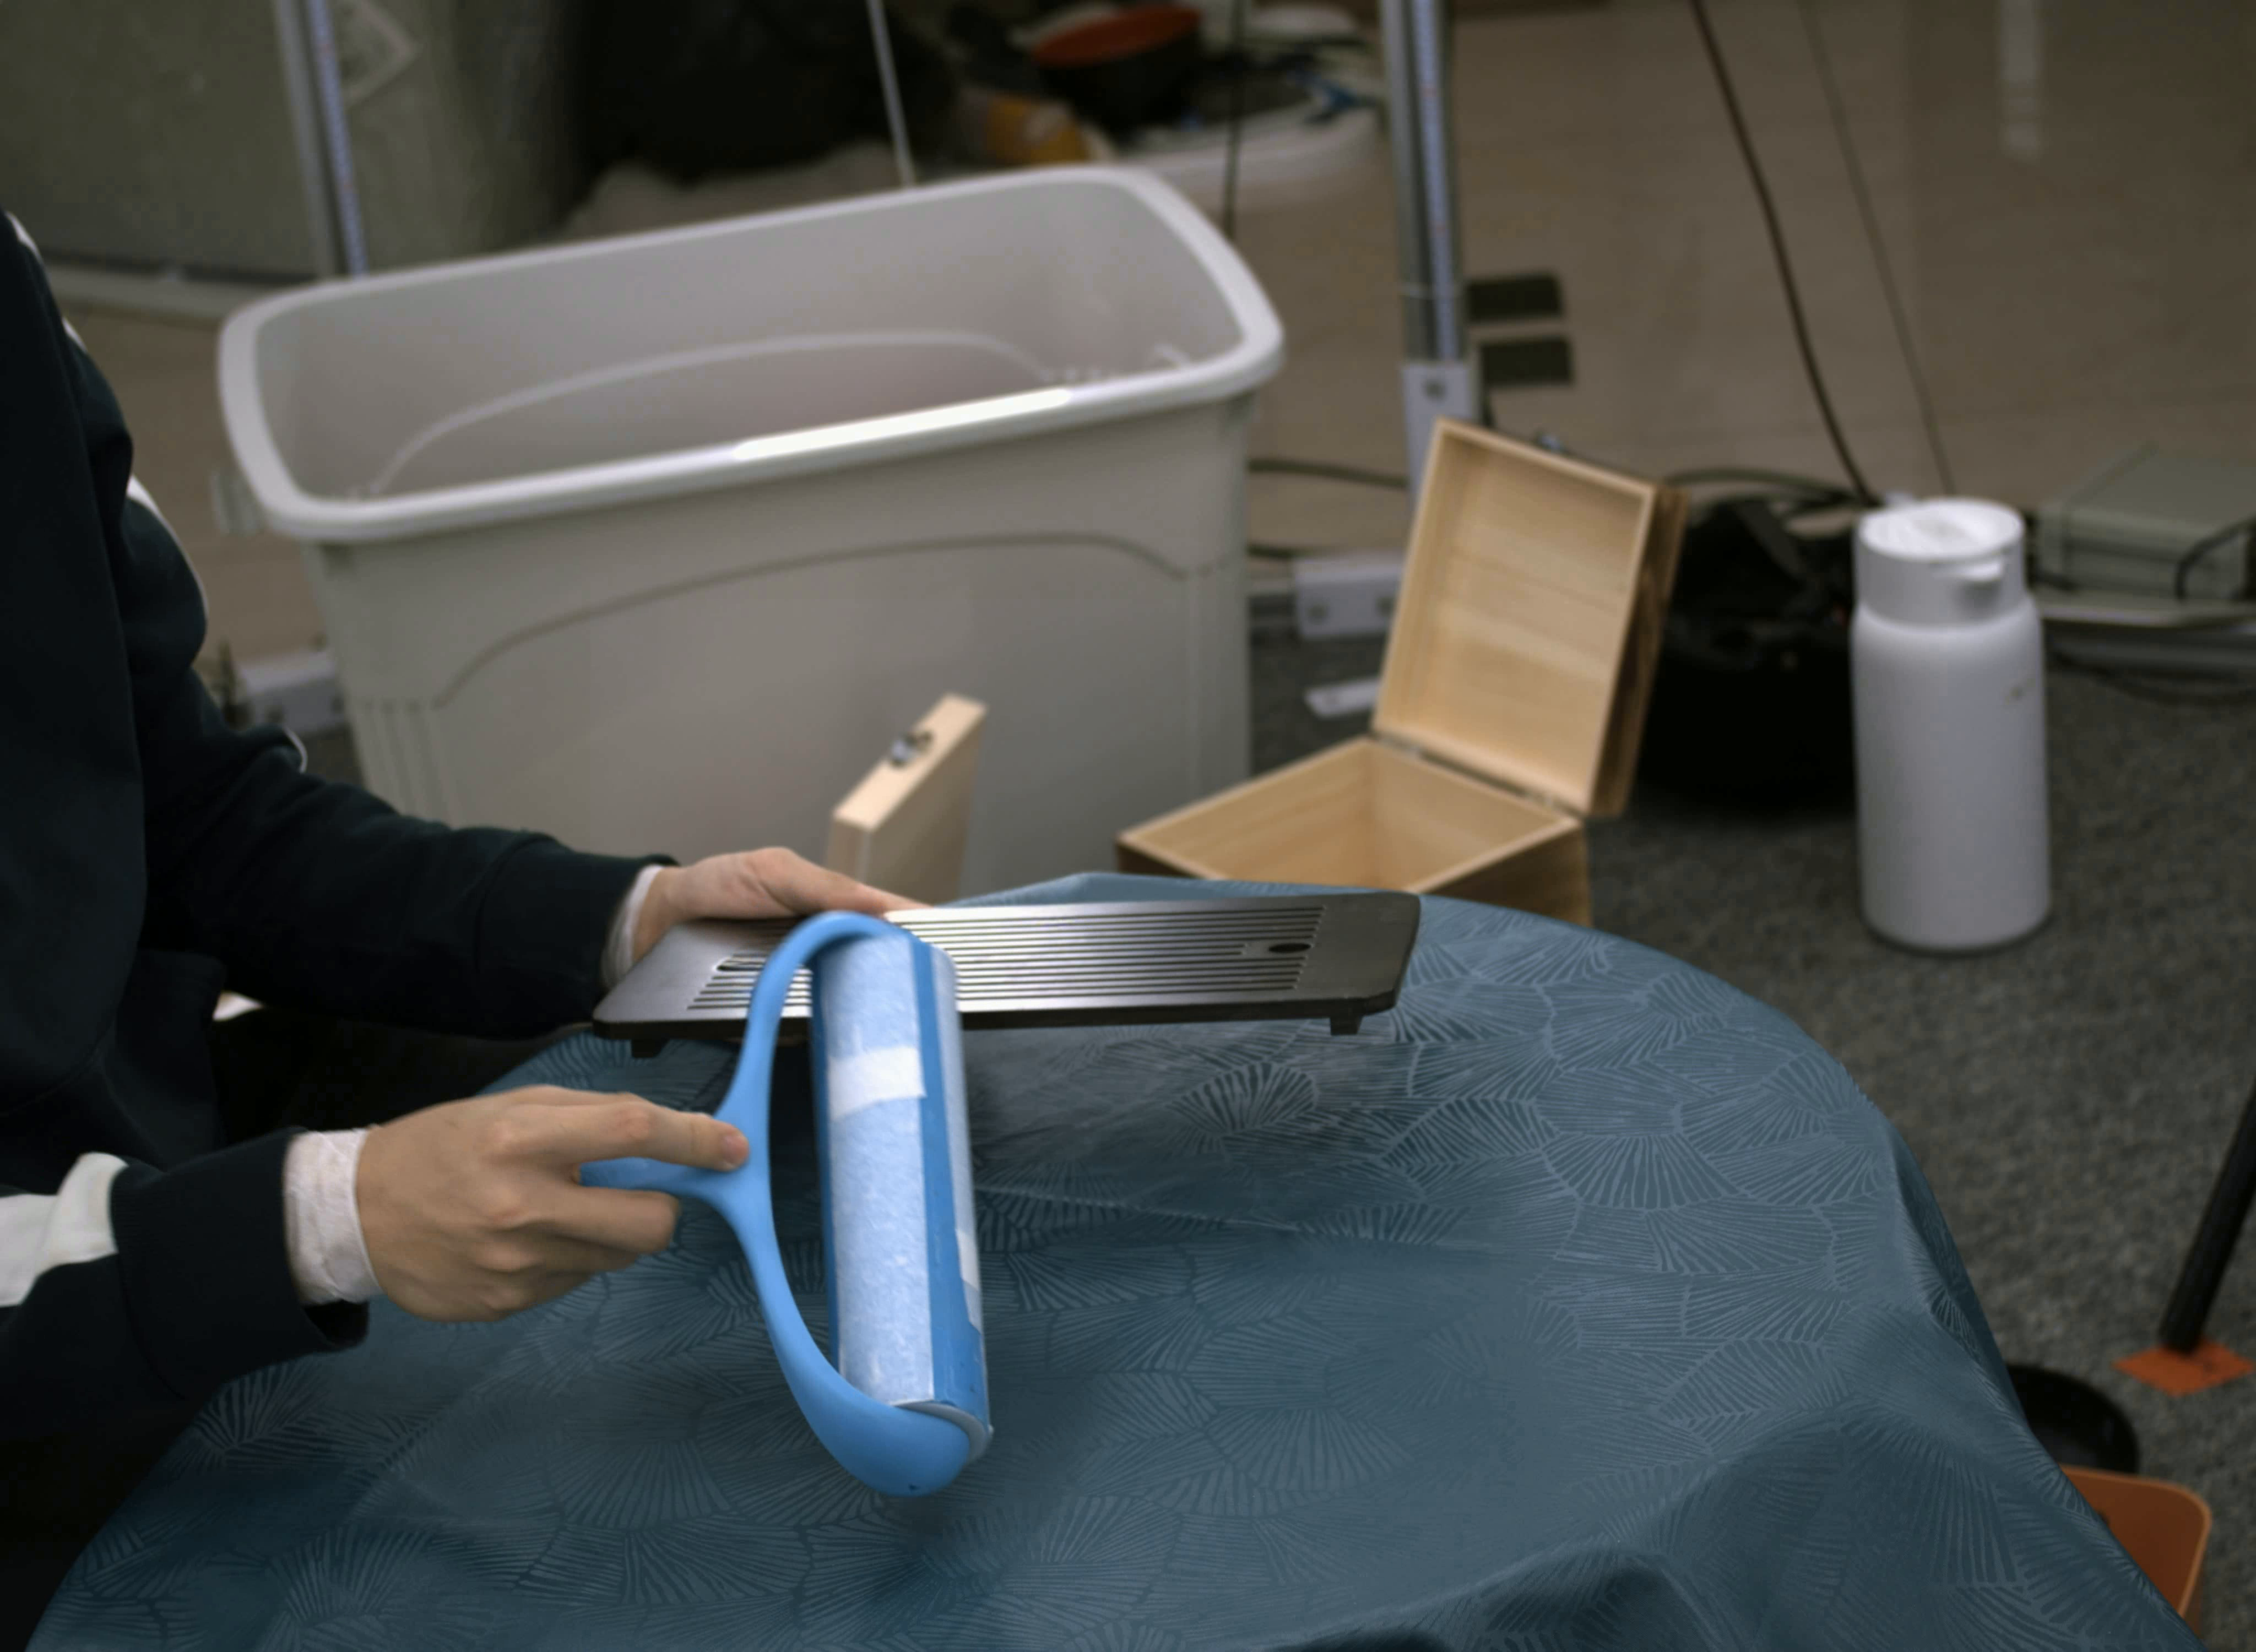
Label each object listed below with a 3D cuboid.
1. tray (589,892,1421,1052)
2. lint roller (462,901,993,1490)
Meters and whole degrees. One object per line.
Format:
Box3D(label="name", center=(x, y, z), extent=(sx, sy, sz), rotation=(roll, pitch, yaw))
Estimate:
Box3D(label="tray", center=(-0.044, 0.056, 2.180), extent=(0.305, 0.019, 0.169), rotation=(-2, 12, 7))
Box3D(label="lint roller", center=(-0.141, 0.131, 1.974), extent=(0.180, 0.069, 0.225), rotation=(-4, 59, -9))
